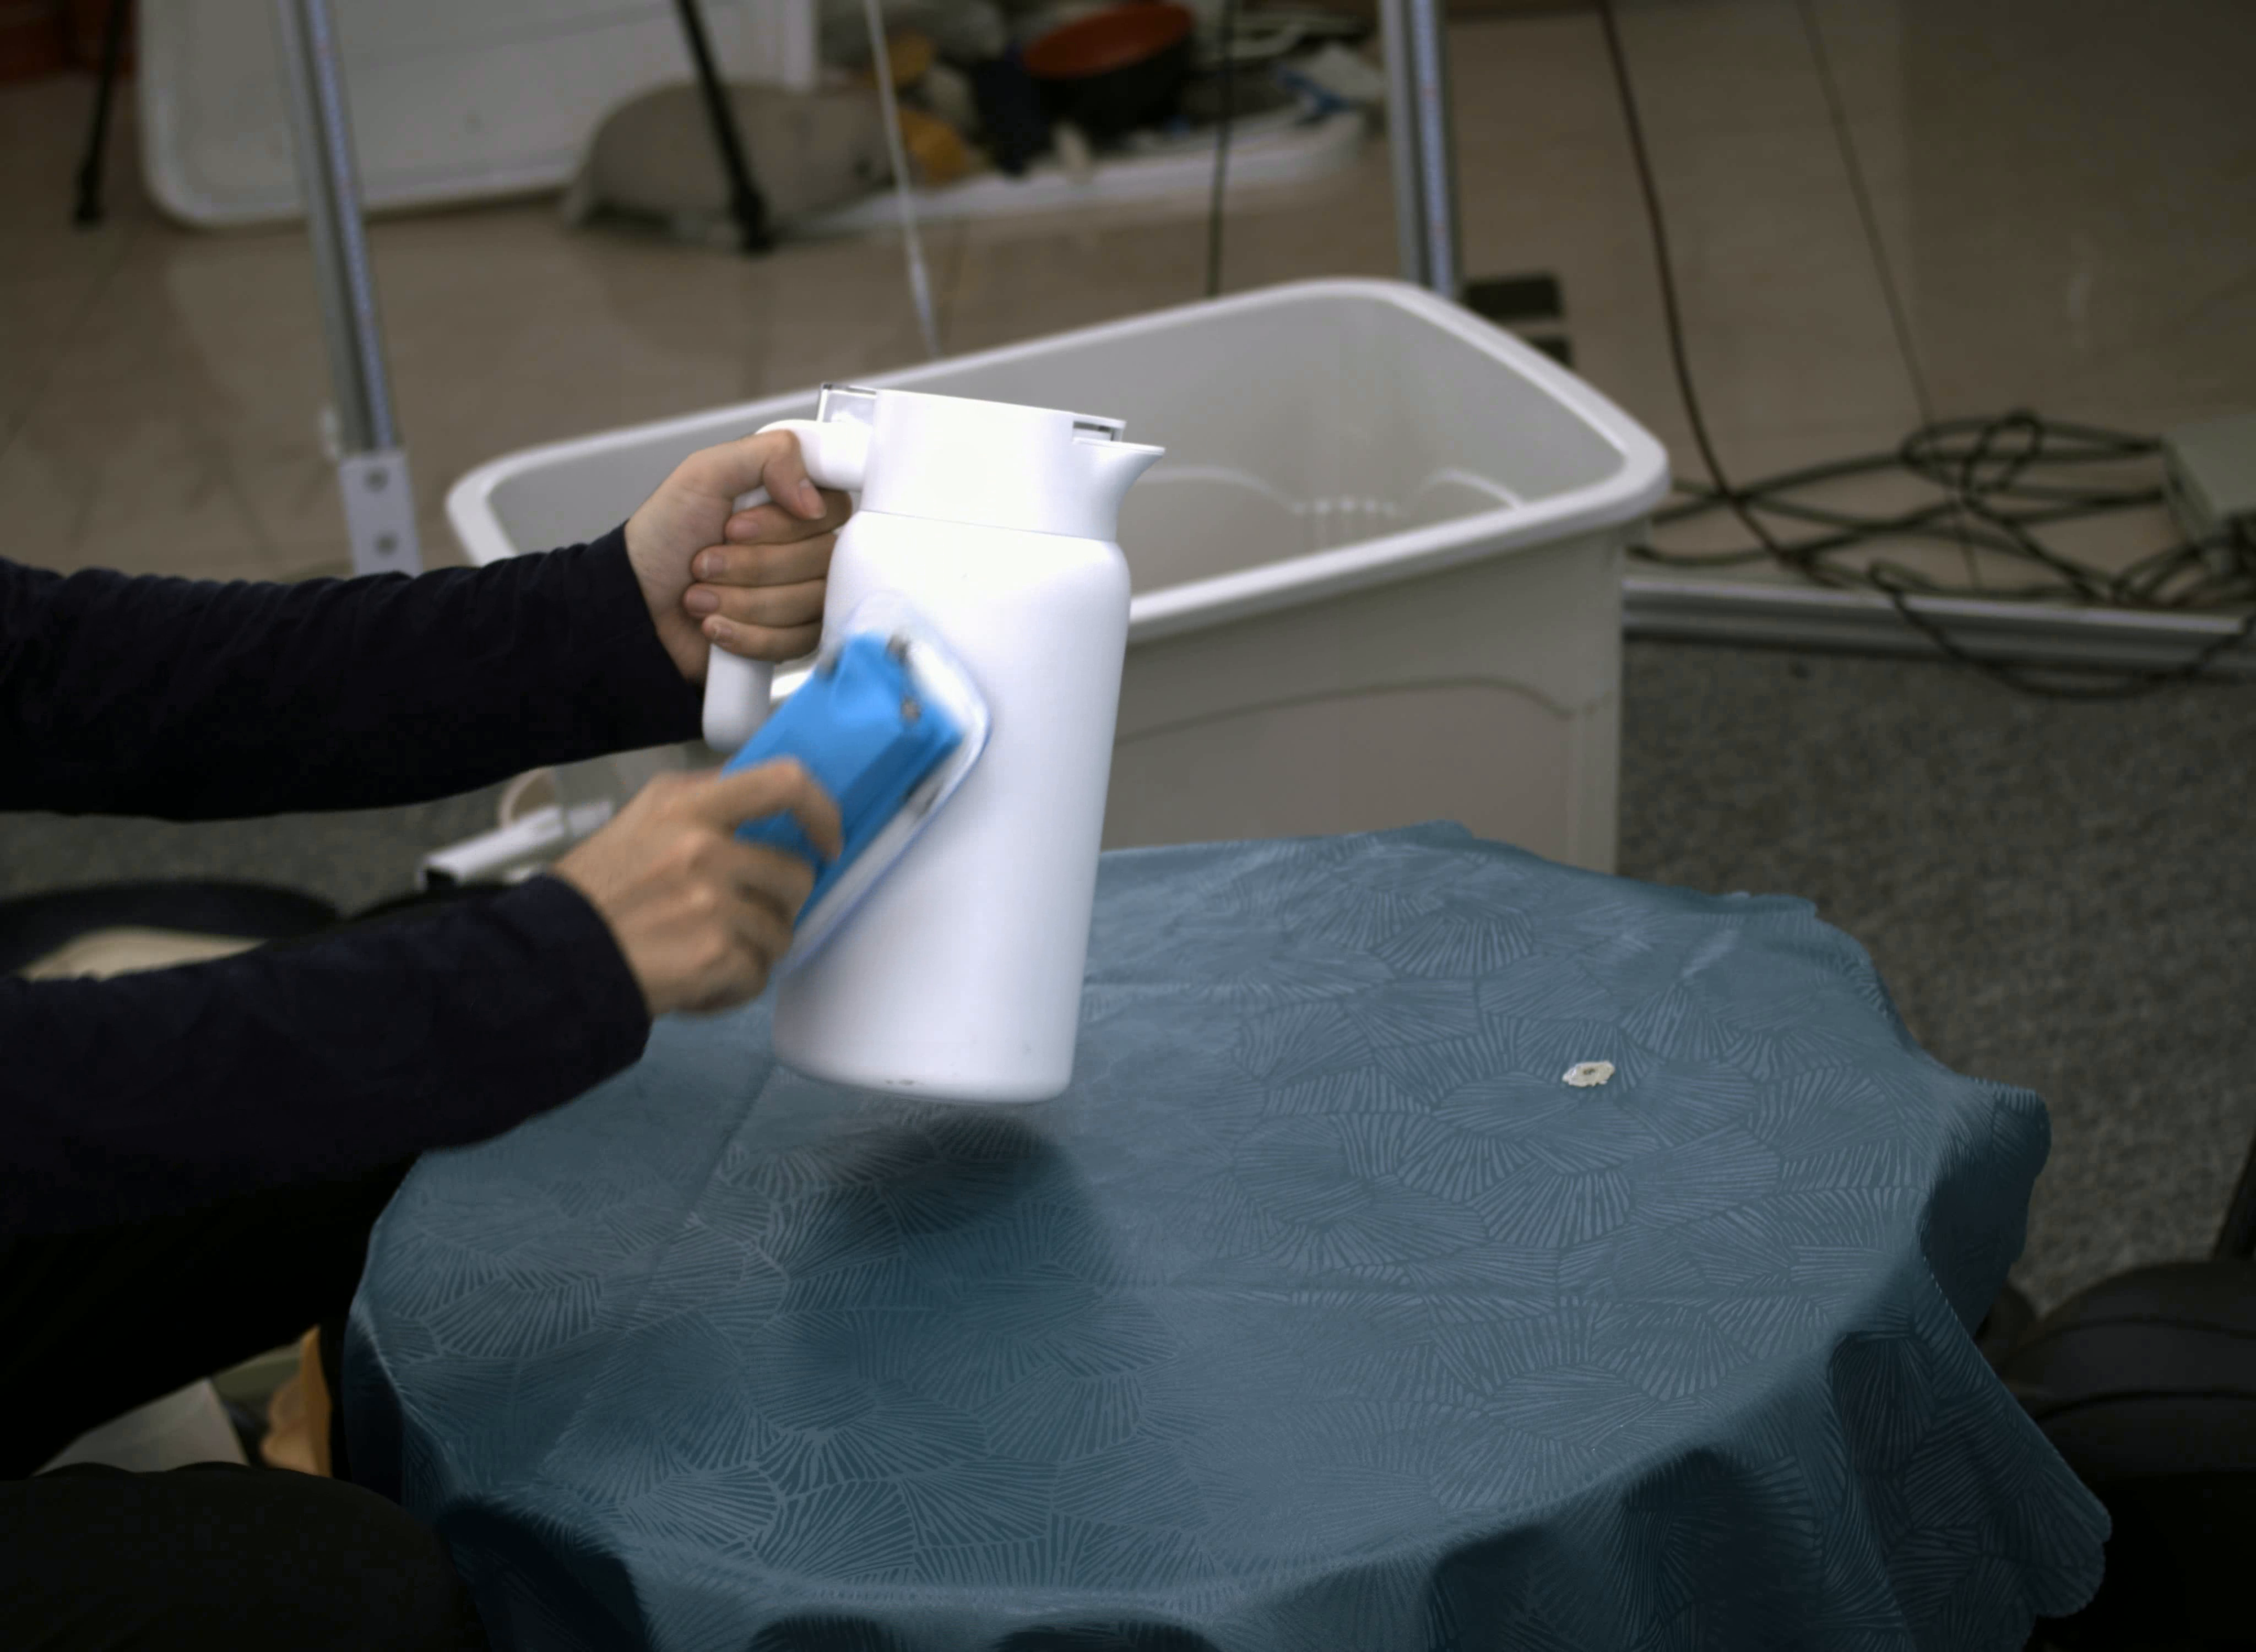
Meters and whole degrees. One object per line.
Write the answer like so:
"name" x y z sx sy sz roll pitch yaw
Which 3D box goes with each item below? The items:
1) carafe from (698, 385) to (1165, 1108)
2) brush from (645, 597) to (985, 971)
"carafe" -0.082 -0.033 2.171 0.172 0.270 0.123 8 6 19
"brush" -0.123 -0.018 2.098 0.083 0.145 0.056 54 18 23
